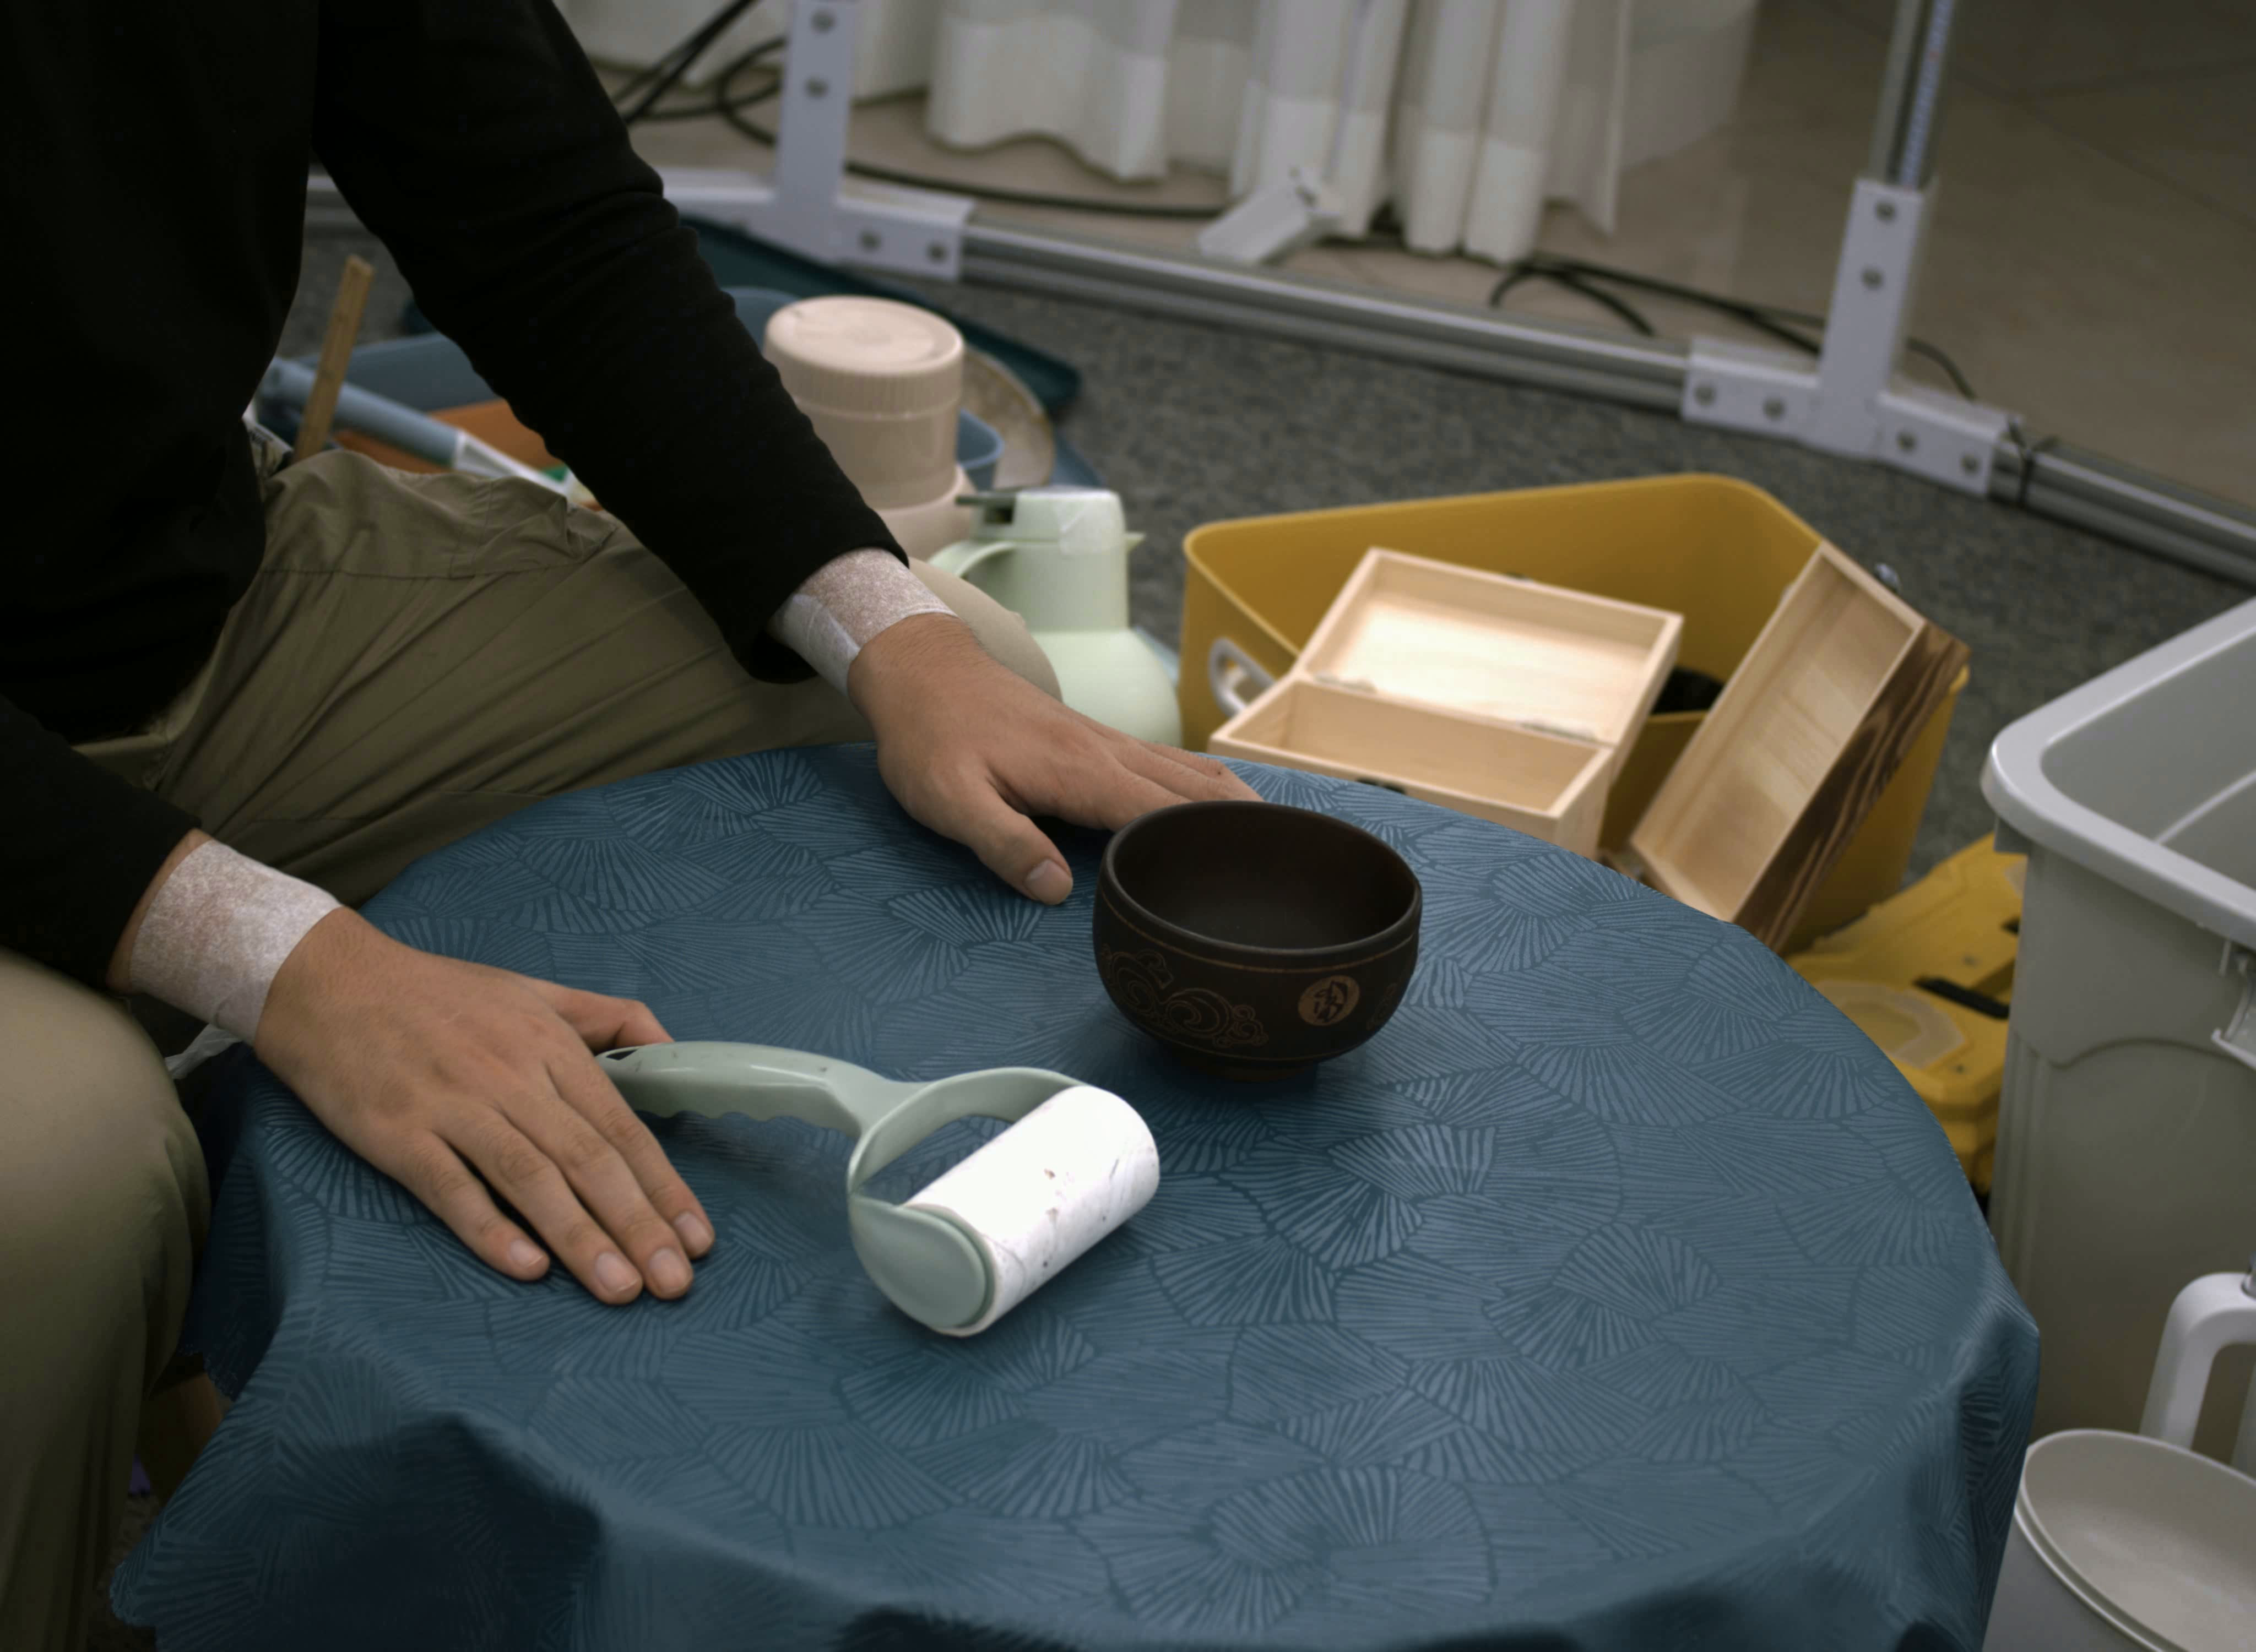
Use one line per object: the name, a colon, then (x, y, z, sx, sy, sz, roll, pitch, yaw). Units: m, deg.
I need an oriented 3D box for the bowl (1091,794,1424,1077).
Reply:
bowl: (0.044, 0.045, 1.886, 0.117, 0.069, 0.119, 4, 27, -2)

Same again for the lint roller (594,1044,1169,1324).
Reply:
lint roller: (-0.093, 0.100, 1.778, 0.198, 0.048, 0.116, 19, 30, 26)
